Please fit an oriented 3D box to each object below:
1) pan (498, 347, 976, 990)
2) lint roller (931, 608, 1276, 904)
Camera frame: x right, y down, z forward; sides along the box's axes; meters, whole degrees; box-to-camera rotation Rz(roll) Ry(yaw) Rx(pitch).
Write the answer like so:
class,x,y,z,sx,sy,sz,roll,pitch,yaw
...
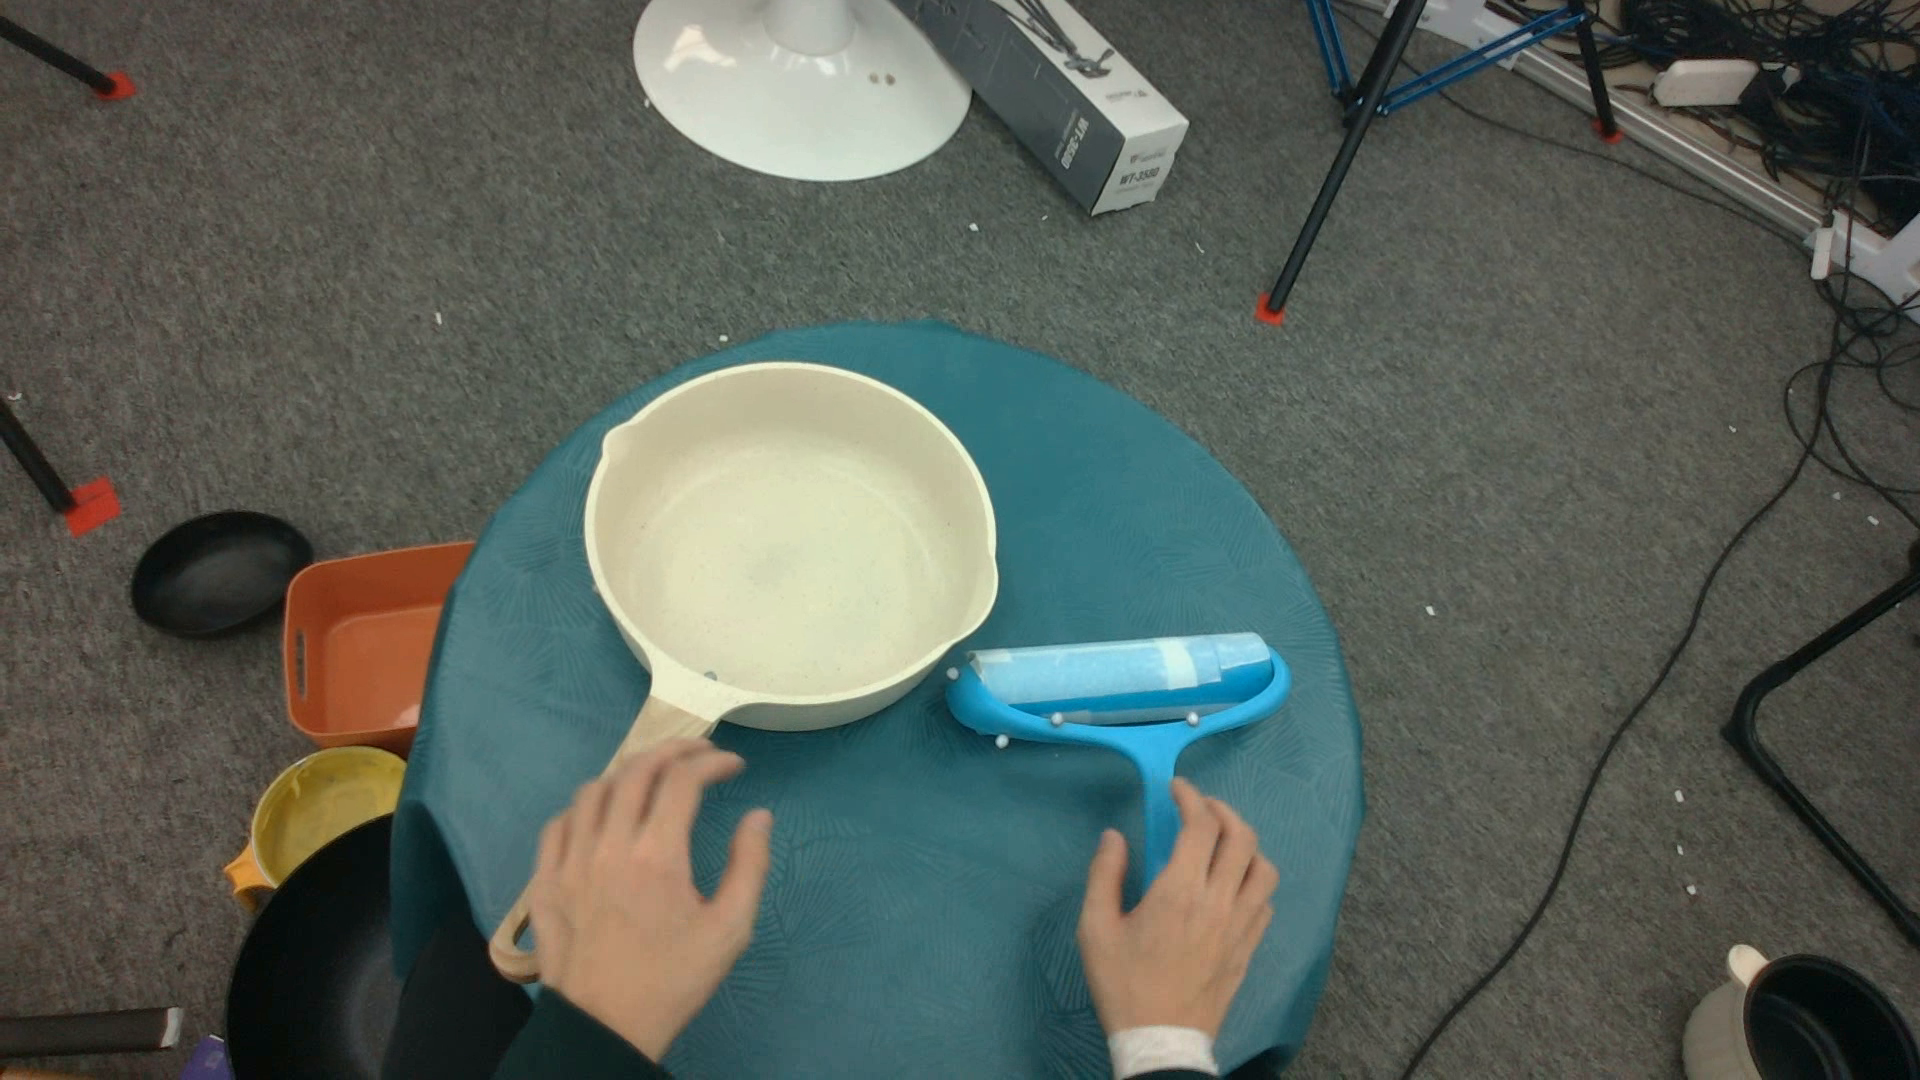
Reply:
class,x,y,z,sx,sy,sz,roll,pitch,yaw
pan,-0.152,0.068,0.819,0.263,0.101,0.437,22,56,2
lint roller,0.108,0.129,0.858,0.229,0.067,0.181,-6,58,-17
